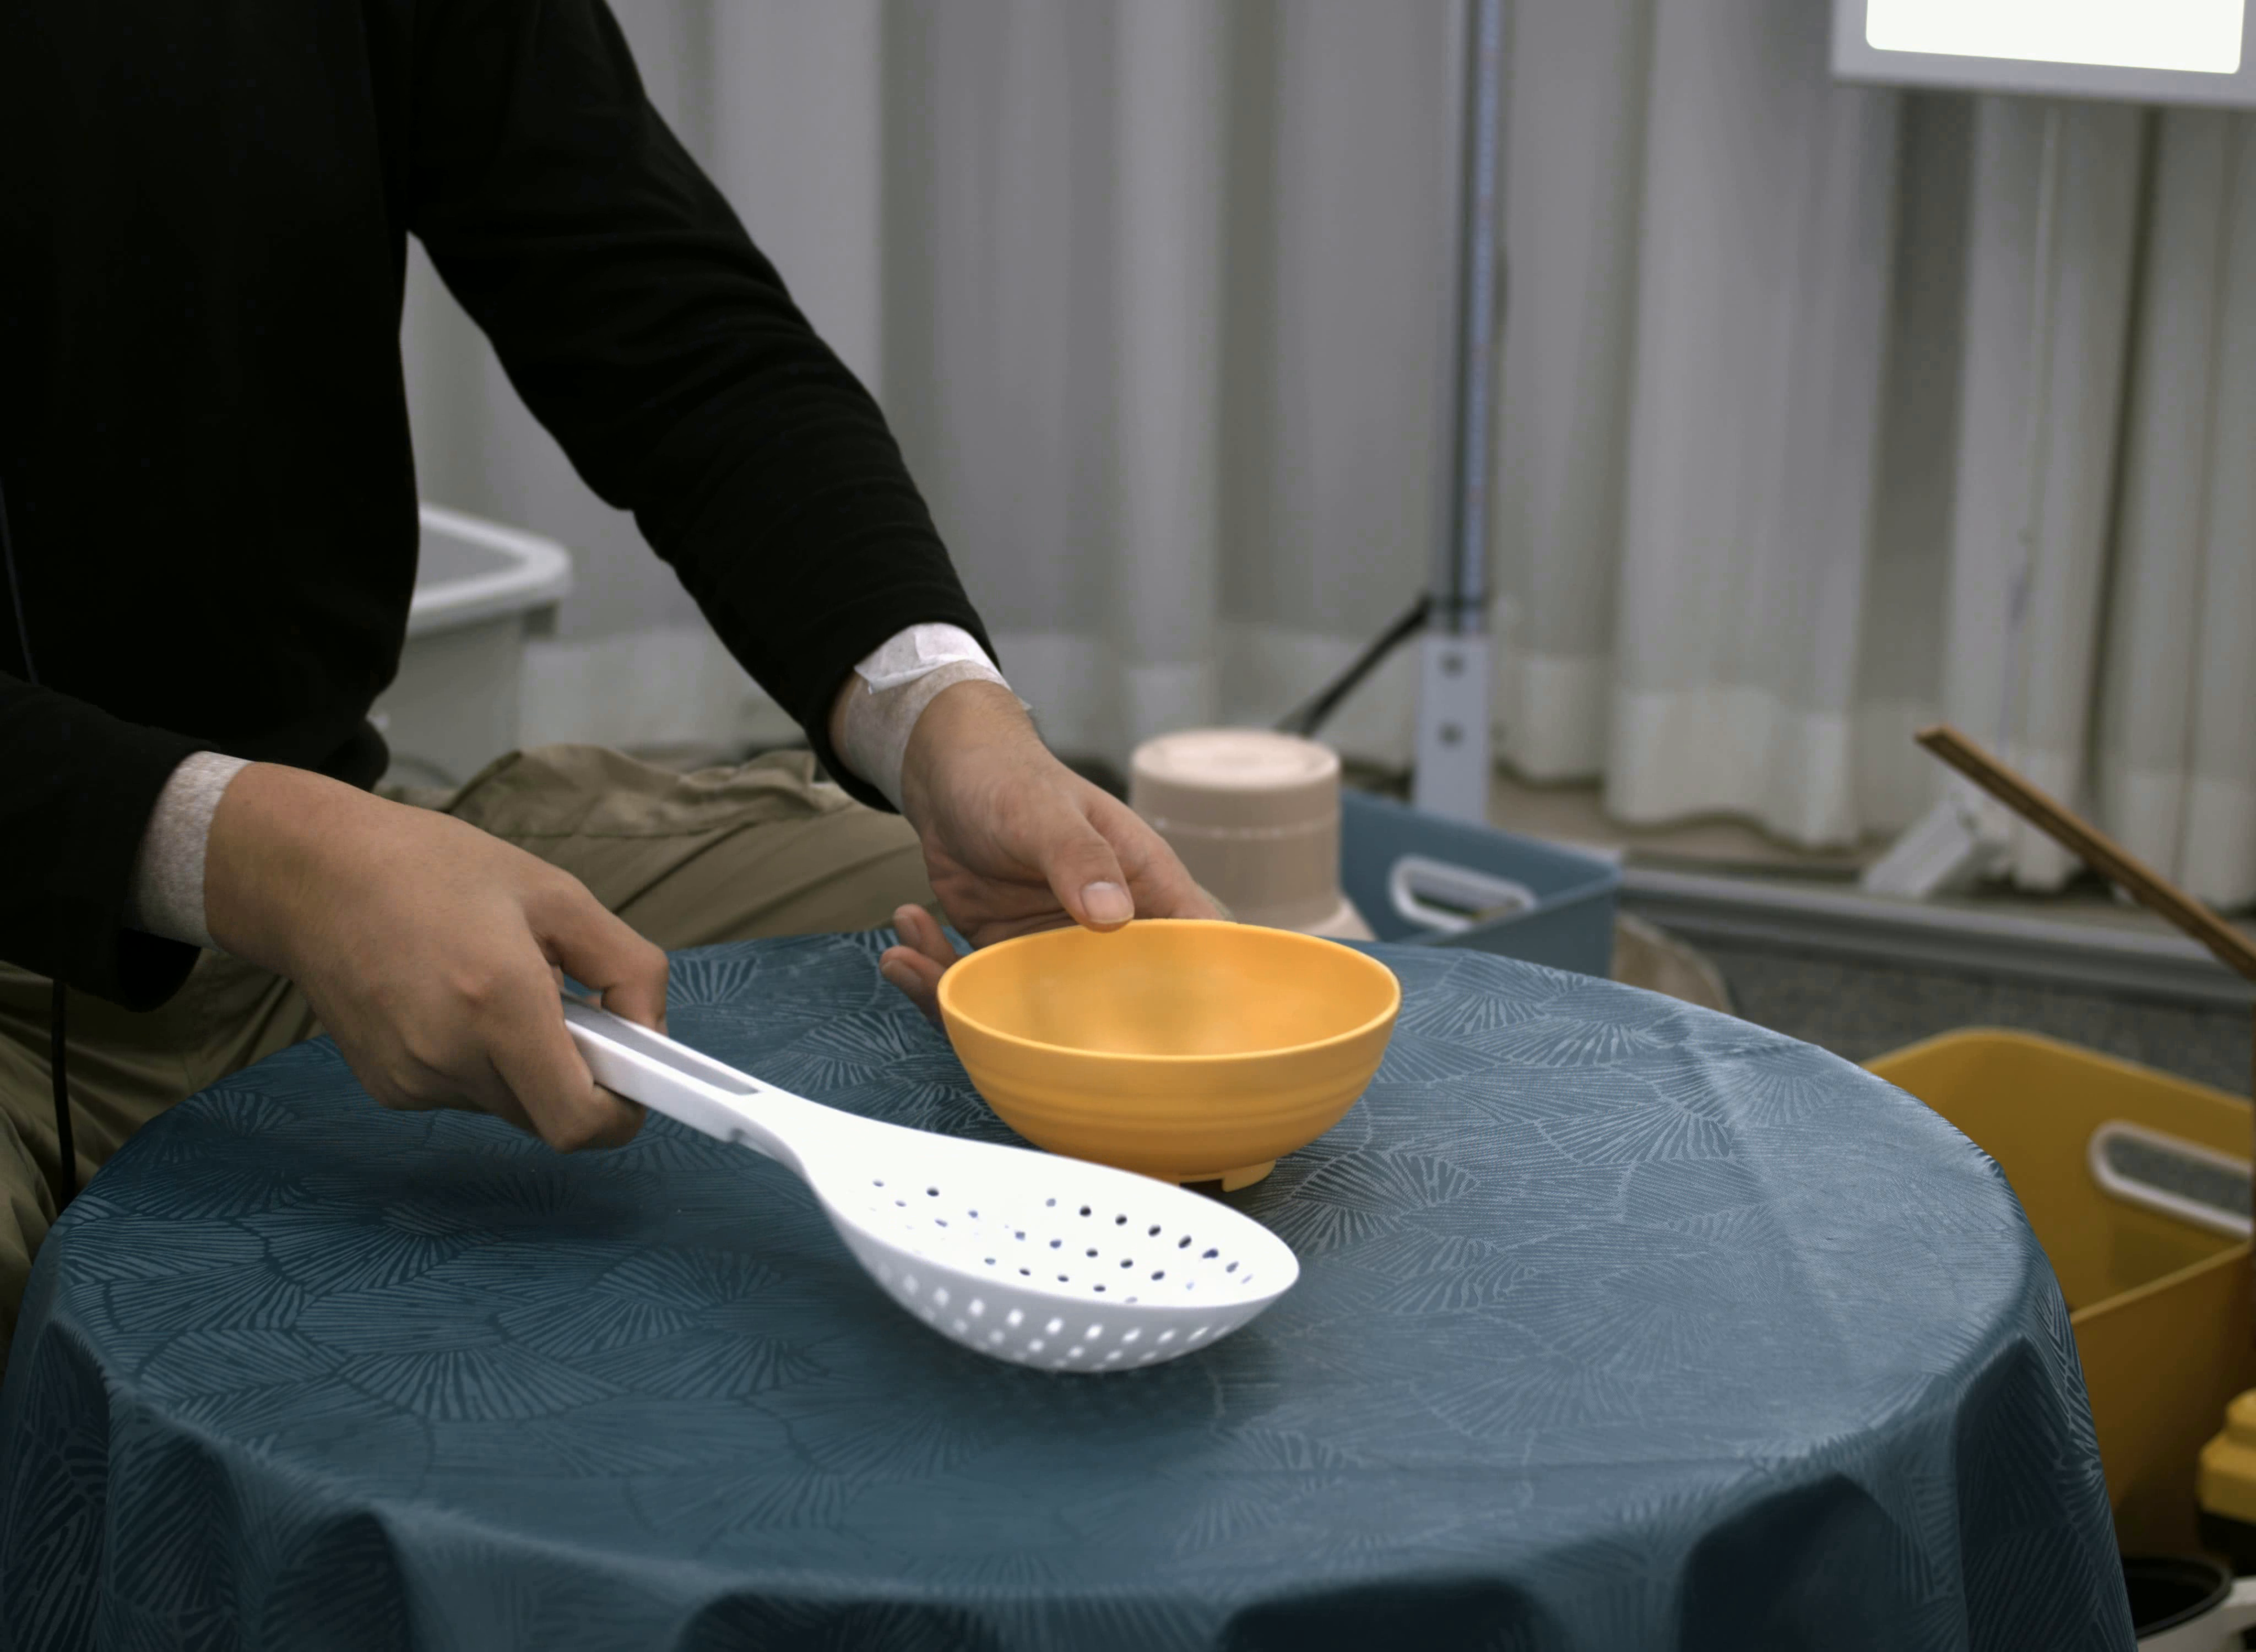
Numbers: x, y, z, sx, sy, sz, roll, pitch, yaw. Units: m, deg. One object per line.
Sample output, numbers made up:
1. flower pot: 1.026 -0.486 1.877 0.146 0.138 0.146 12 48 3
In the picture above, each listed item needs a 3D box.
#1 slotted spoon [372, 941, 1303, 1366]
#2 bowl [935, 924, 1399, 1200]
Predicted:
1. slotted spoon: -0.099 0.088 1.539 0.345 0.046 0.137 25 16 36
2. bowl: 0.011 0.078 1.638 0.145 0.060 0.144 2 15 0
